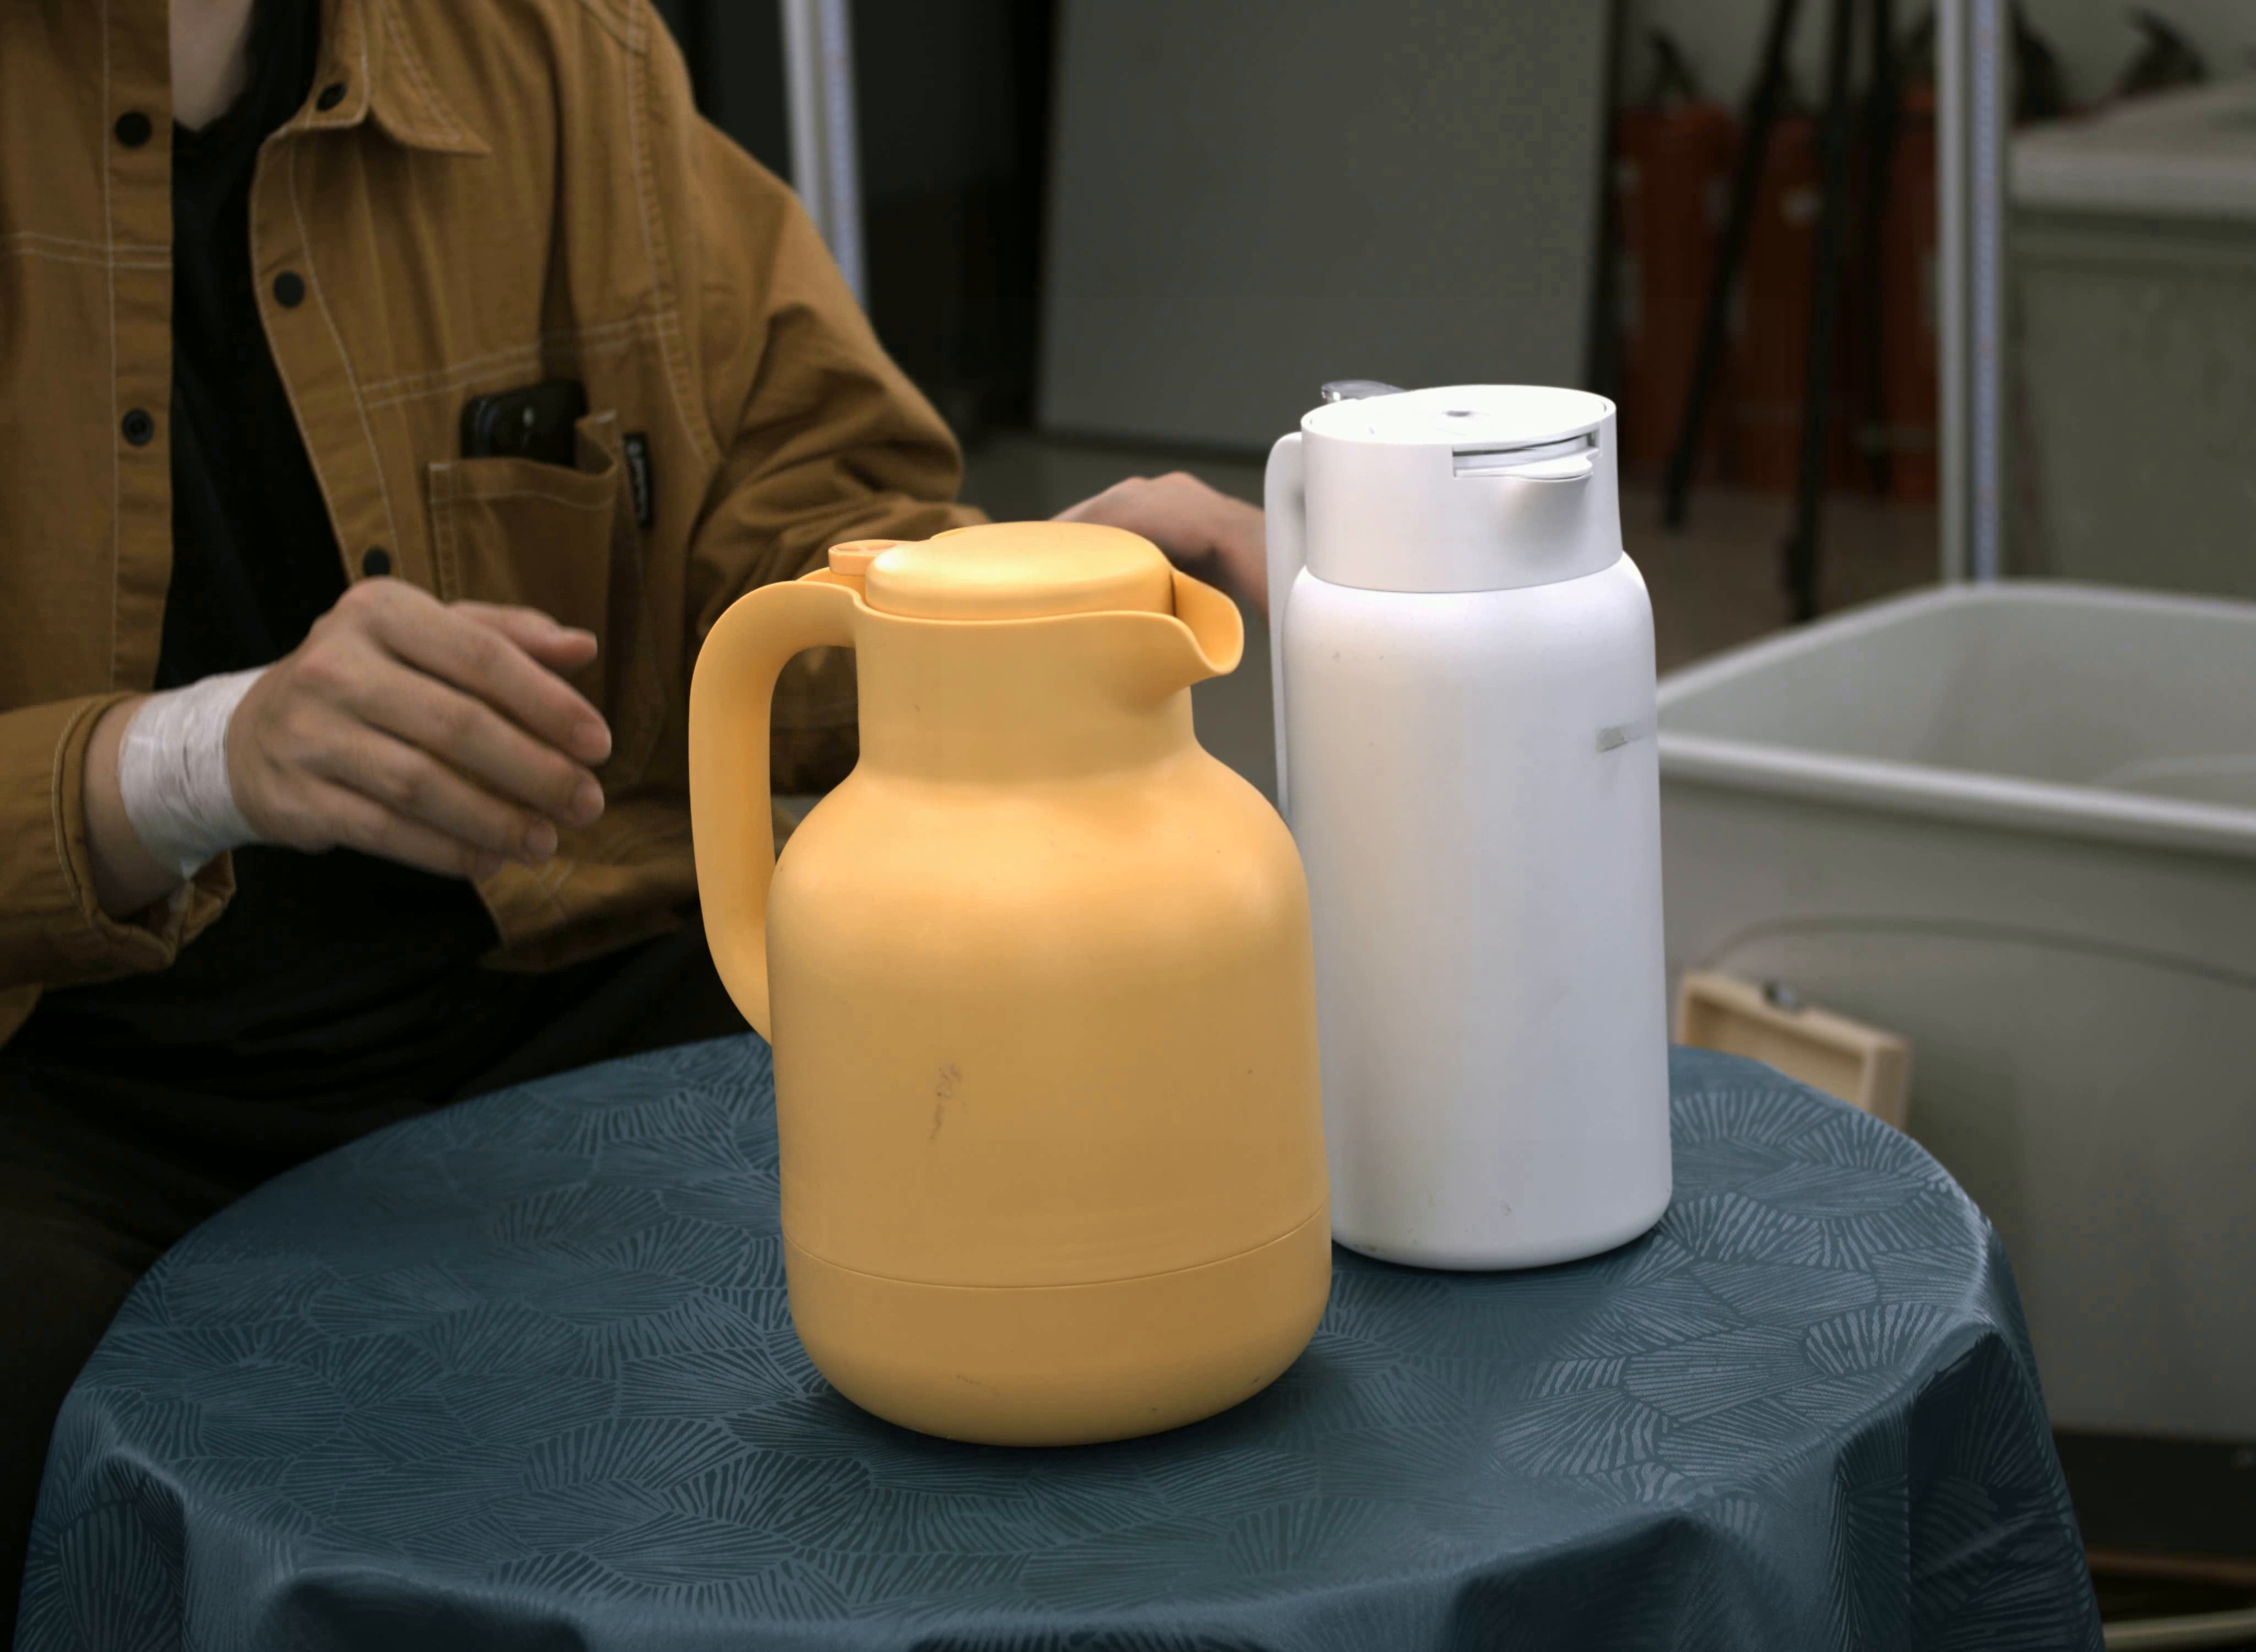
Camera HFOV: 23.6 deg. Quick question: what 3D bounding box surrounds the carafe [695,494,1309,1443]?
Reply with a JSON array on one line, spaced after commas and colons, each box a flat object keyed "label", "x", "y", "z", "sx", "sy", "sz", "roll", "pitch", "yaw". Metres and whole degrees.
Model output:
[{"label": "carafe", "x": -0.042, "y": 0.034, "z": 1.581, "sx": 0.204, "sy": 0.263, "sz": 0.160, "roll": 9, "pitch": 15, "yaw": 39}]

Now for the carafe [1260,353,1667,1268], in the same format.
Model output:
[{"label": "carafe", "x": 0.098, "y": -0.008, "z": 1.702, "sx": 0.121, "sy": 0.272, "sz": 0.174, "roll": -12, "pitch": 16, "yaw": -25}]
